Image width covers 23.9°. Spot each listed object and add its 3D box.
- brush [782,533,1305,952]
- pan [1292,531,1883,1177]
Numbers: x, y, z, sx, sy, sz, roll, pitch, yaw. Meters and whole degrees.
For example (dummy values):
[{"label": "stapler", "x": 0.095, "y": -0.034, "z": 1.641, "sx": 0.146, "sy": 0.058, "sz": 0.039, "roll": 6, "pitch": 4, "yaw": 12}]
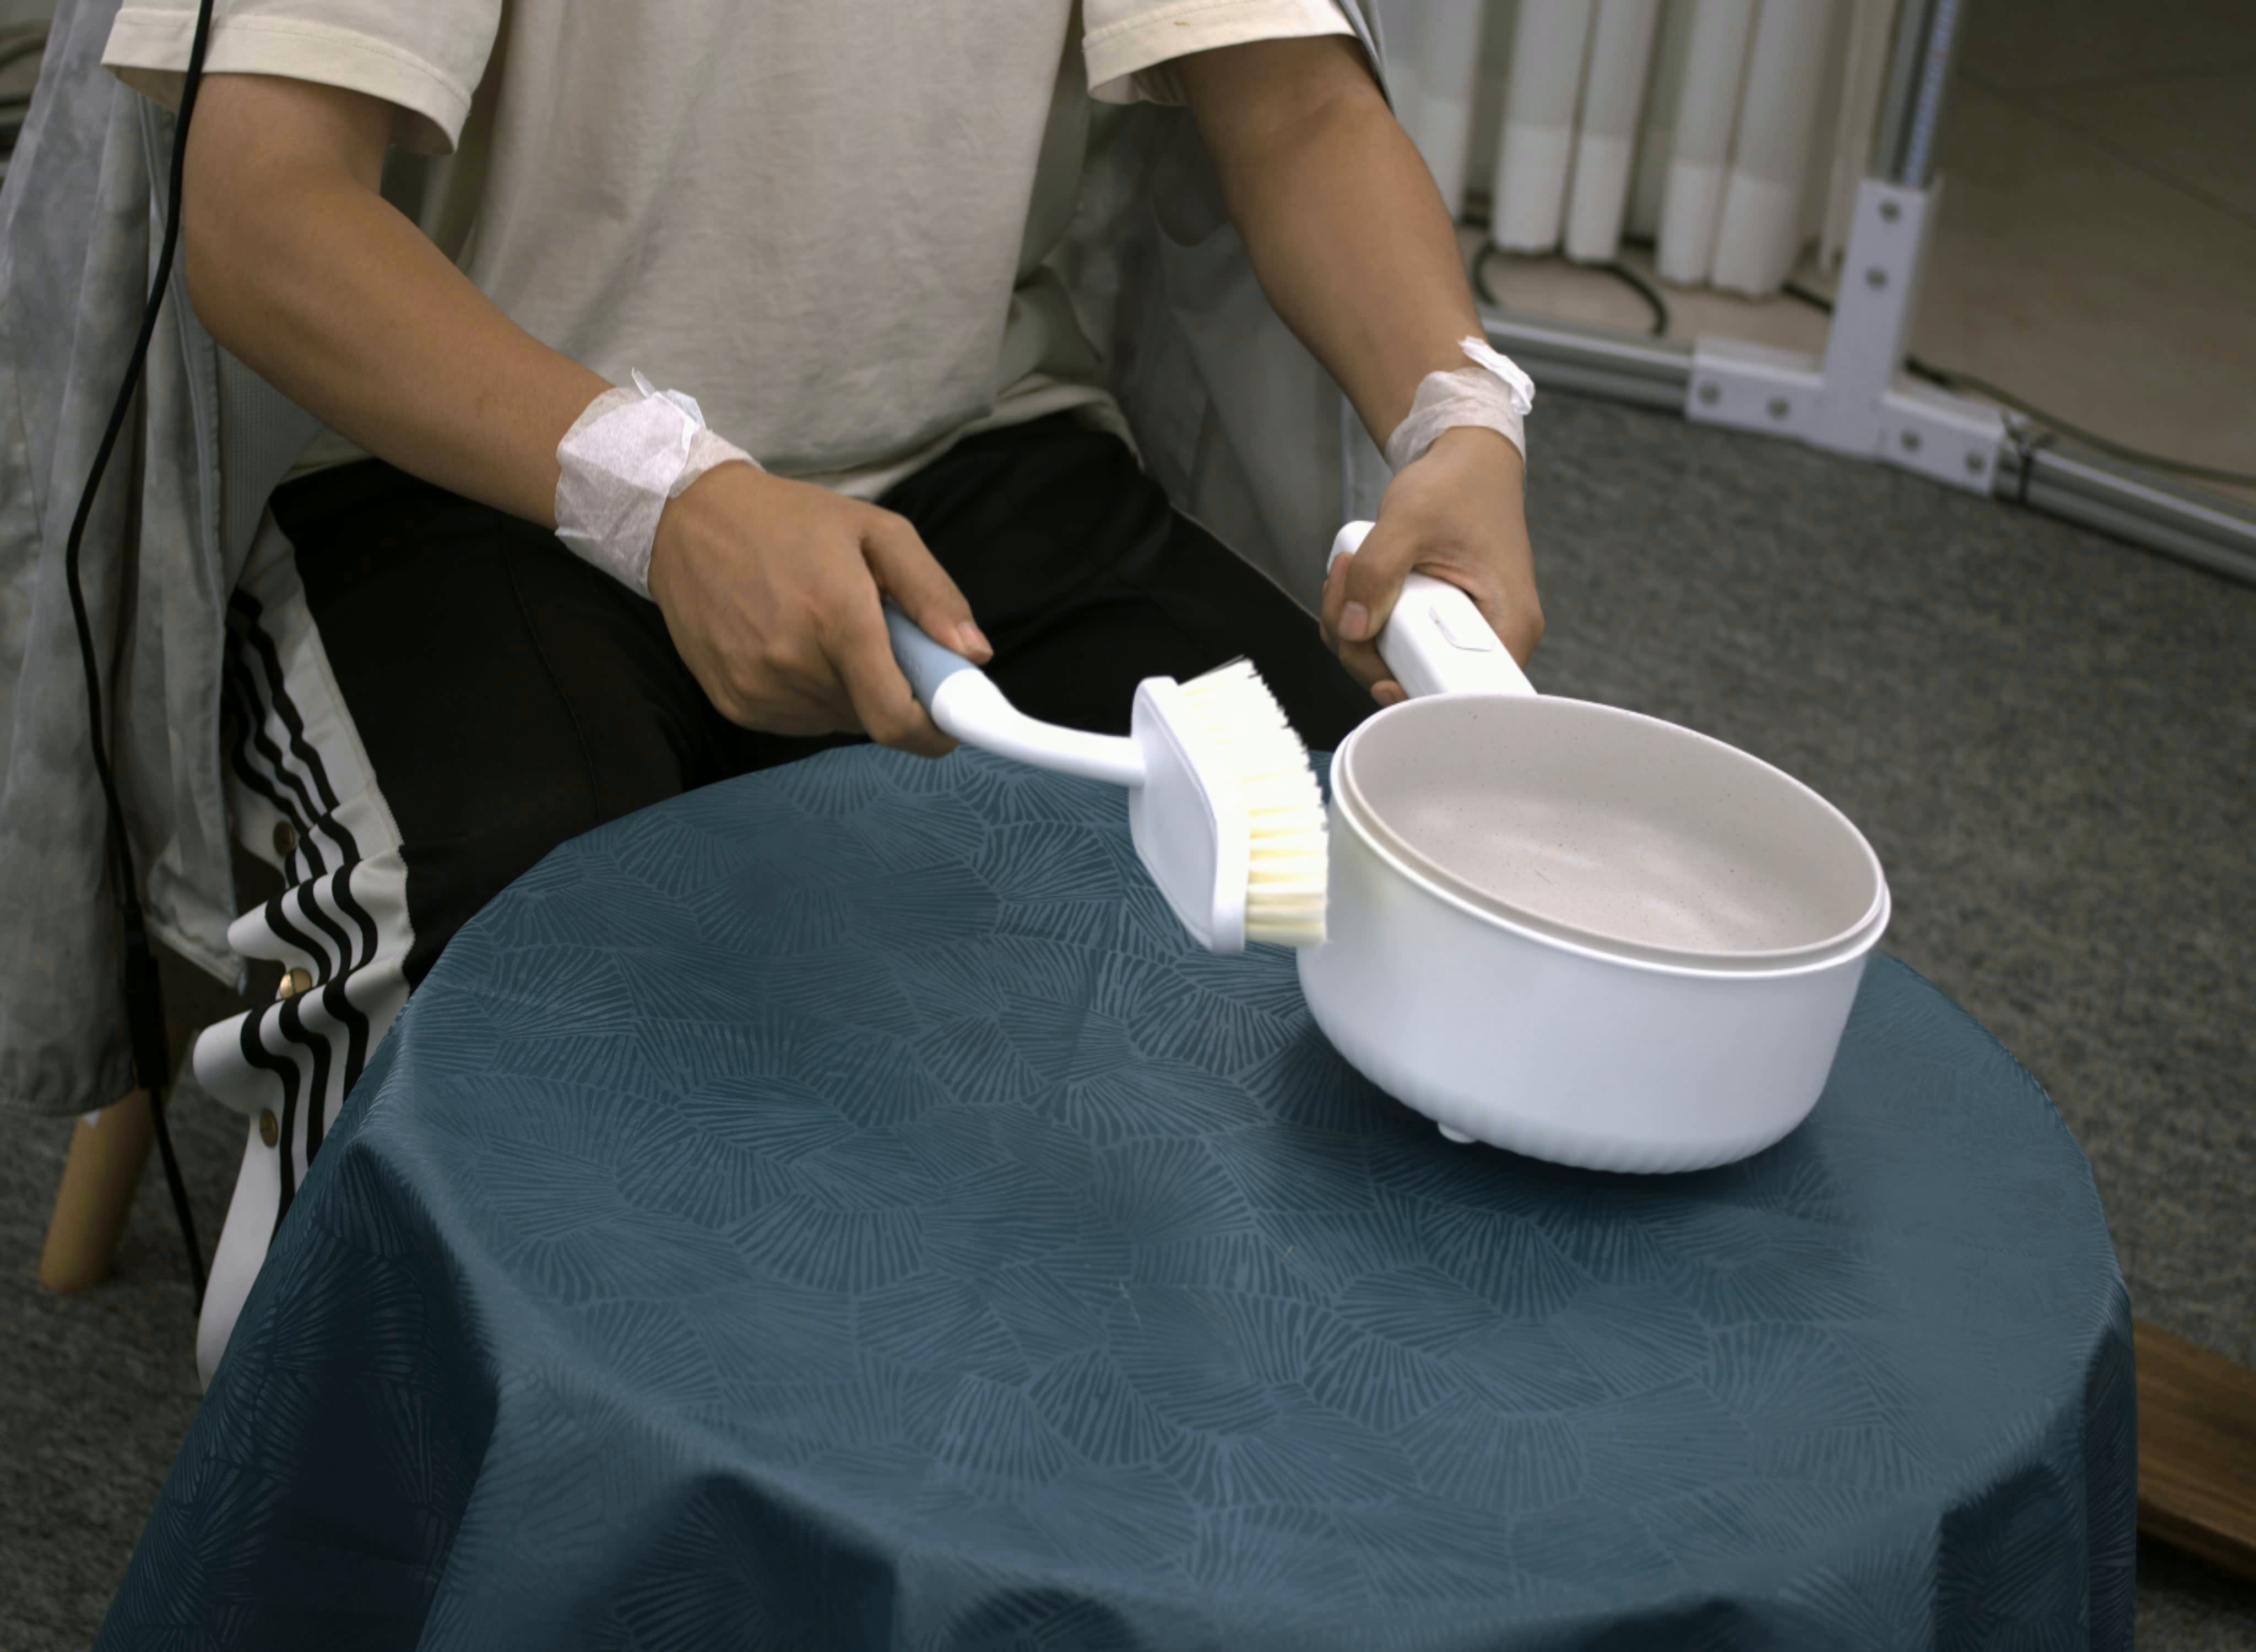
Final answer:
[{"label": "brush", "x": -0.015, "y": -0.044, "z": 1.853, "sx": 0.084, "sy": 0.083, "sz": 0.328, "roll": 31, "pitch": 6, "yaw": -37}, {"label": "pan", "x": 0.136, "y": 0.008, "z": 1.943, "sx": 0.200, "sy": 0.102, "sz": 0.358, "roll": 3, "pitch": 26, "yaw": -19}]
